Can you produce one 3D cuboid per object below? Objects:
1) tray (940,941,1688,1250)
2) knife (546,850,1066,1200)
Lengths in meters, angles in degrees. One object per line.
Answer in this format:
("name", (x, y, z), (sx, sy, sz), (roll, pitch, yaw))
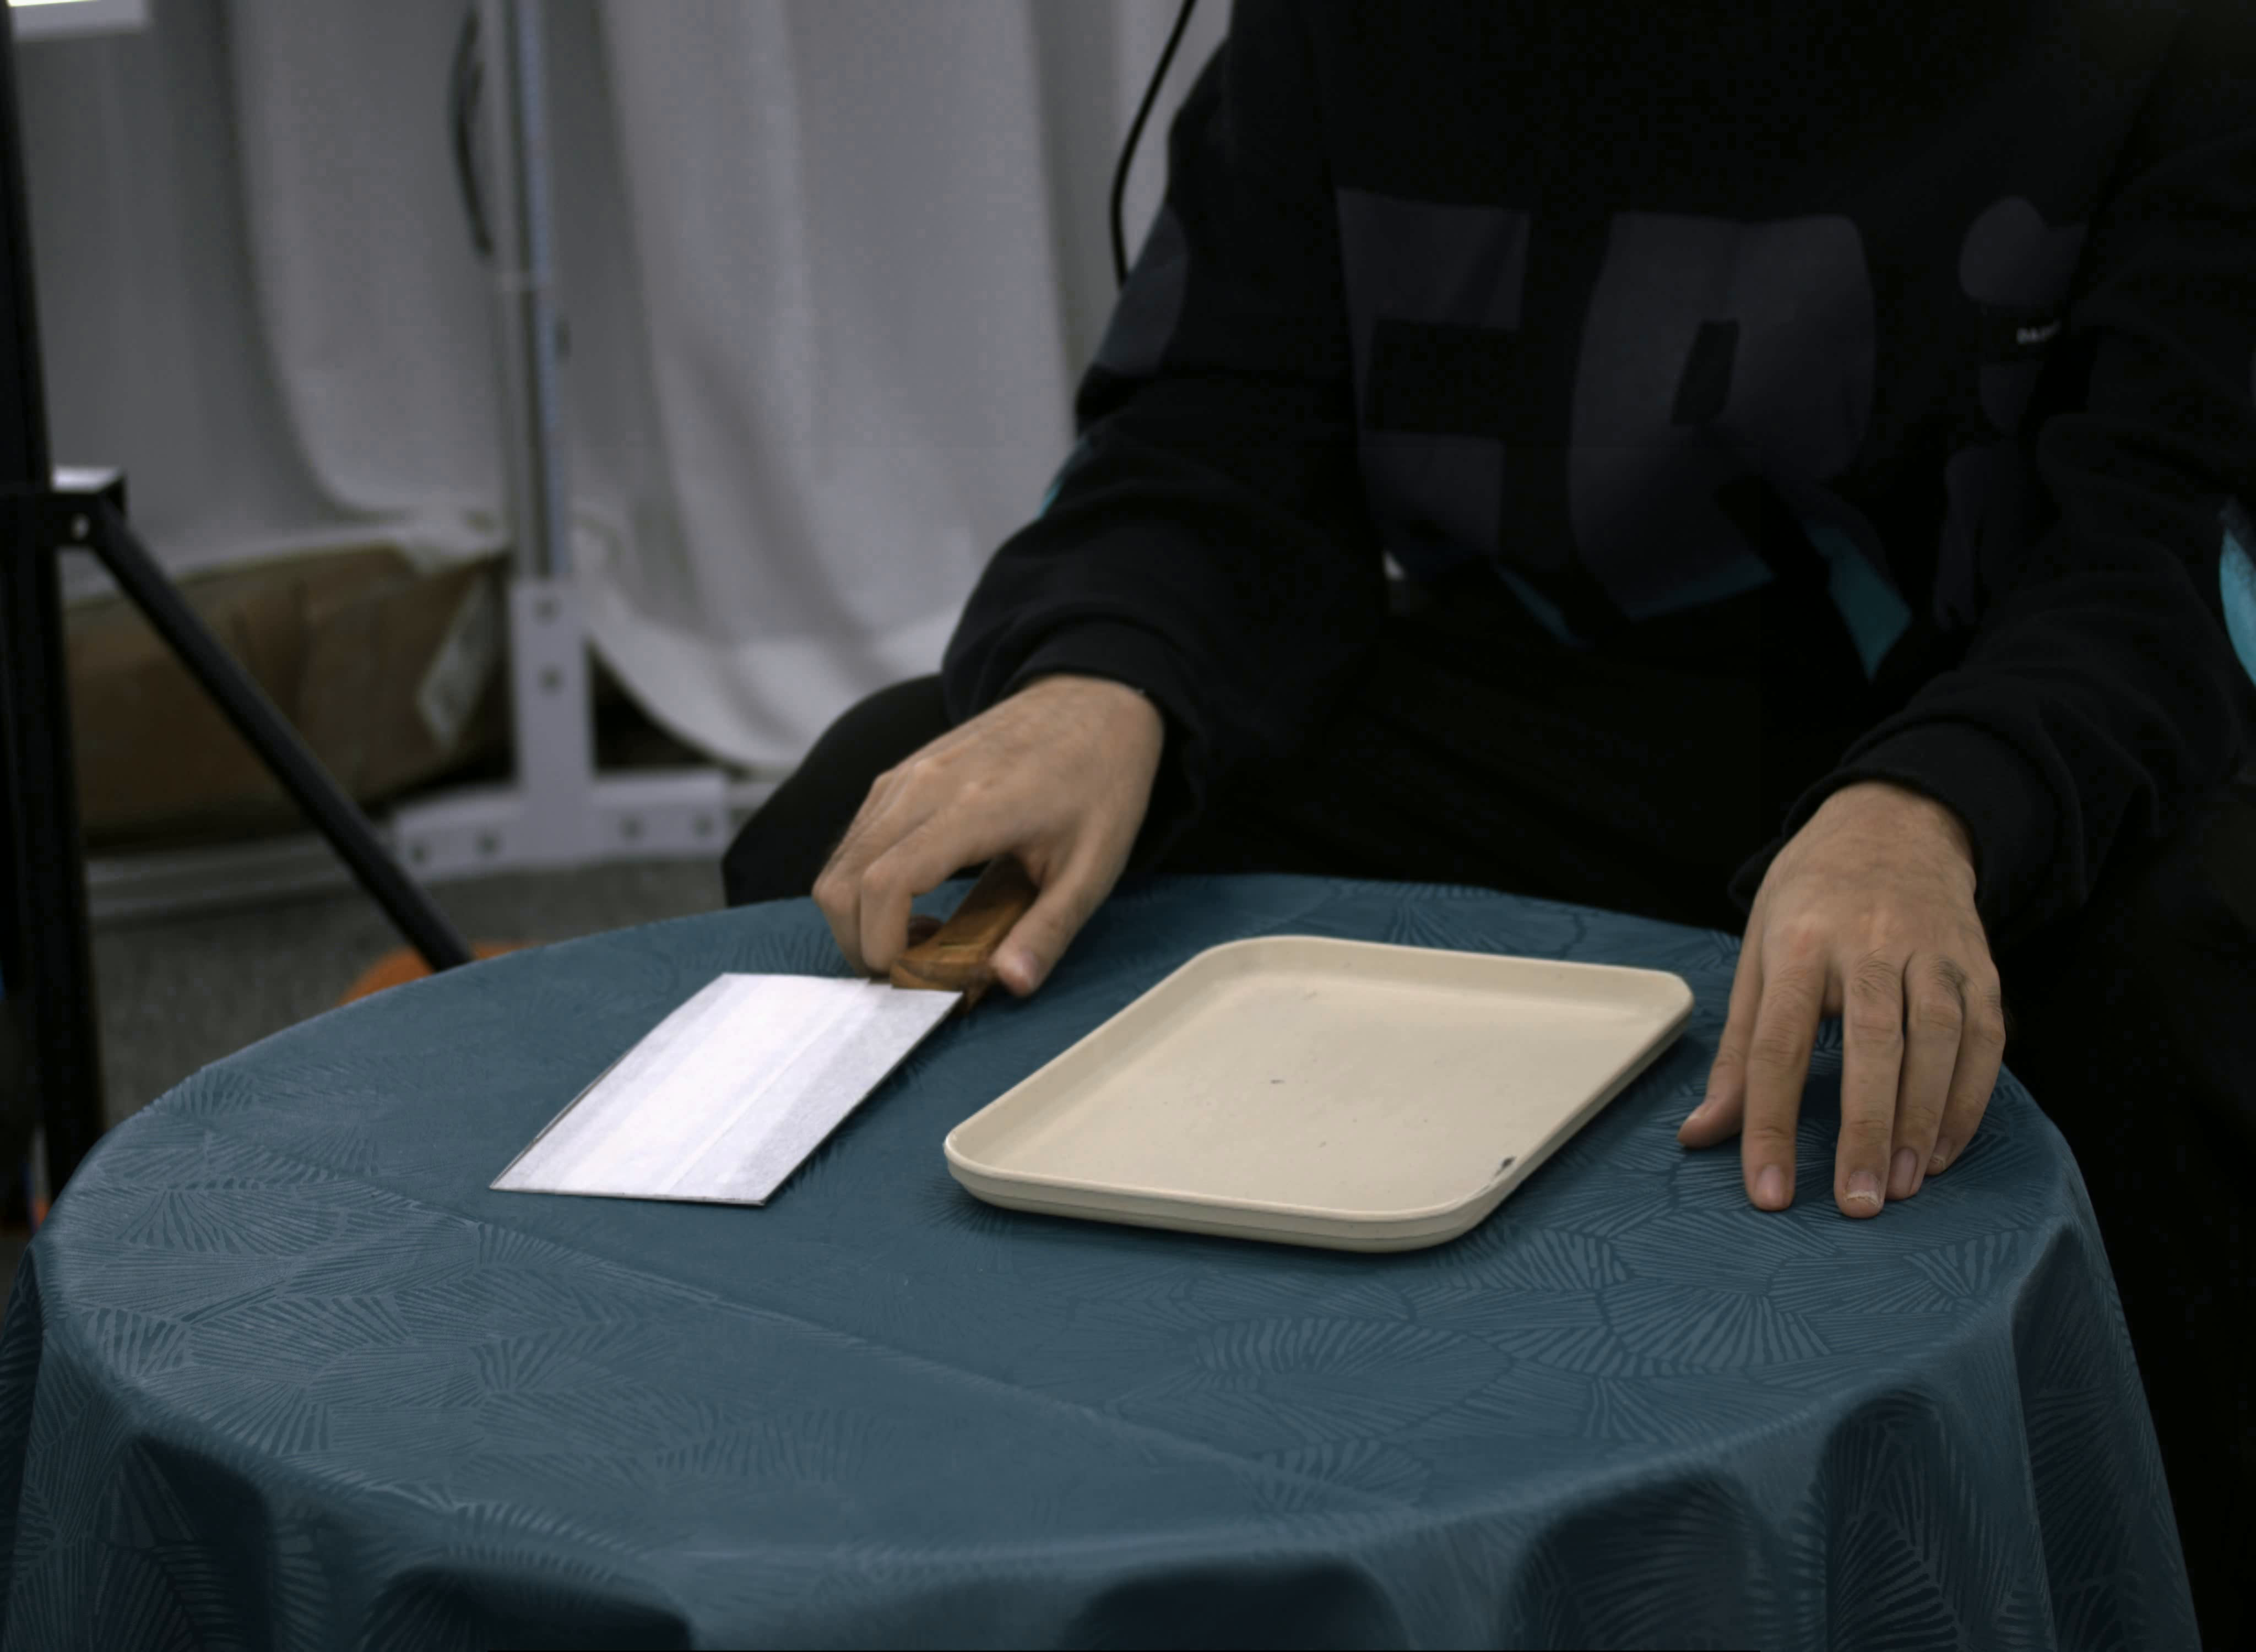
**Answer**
("tray", (0.061, 0.080, 1.610), (0.174, 0.017, 0.236), (4, 17, 26))
("knife", (-0.102, 0.062, 1.709), (0.094, 0.021, 0.303), (1, 18, 19))
